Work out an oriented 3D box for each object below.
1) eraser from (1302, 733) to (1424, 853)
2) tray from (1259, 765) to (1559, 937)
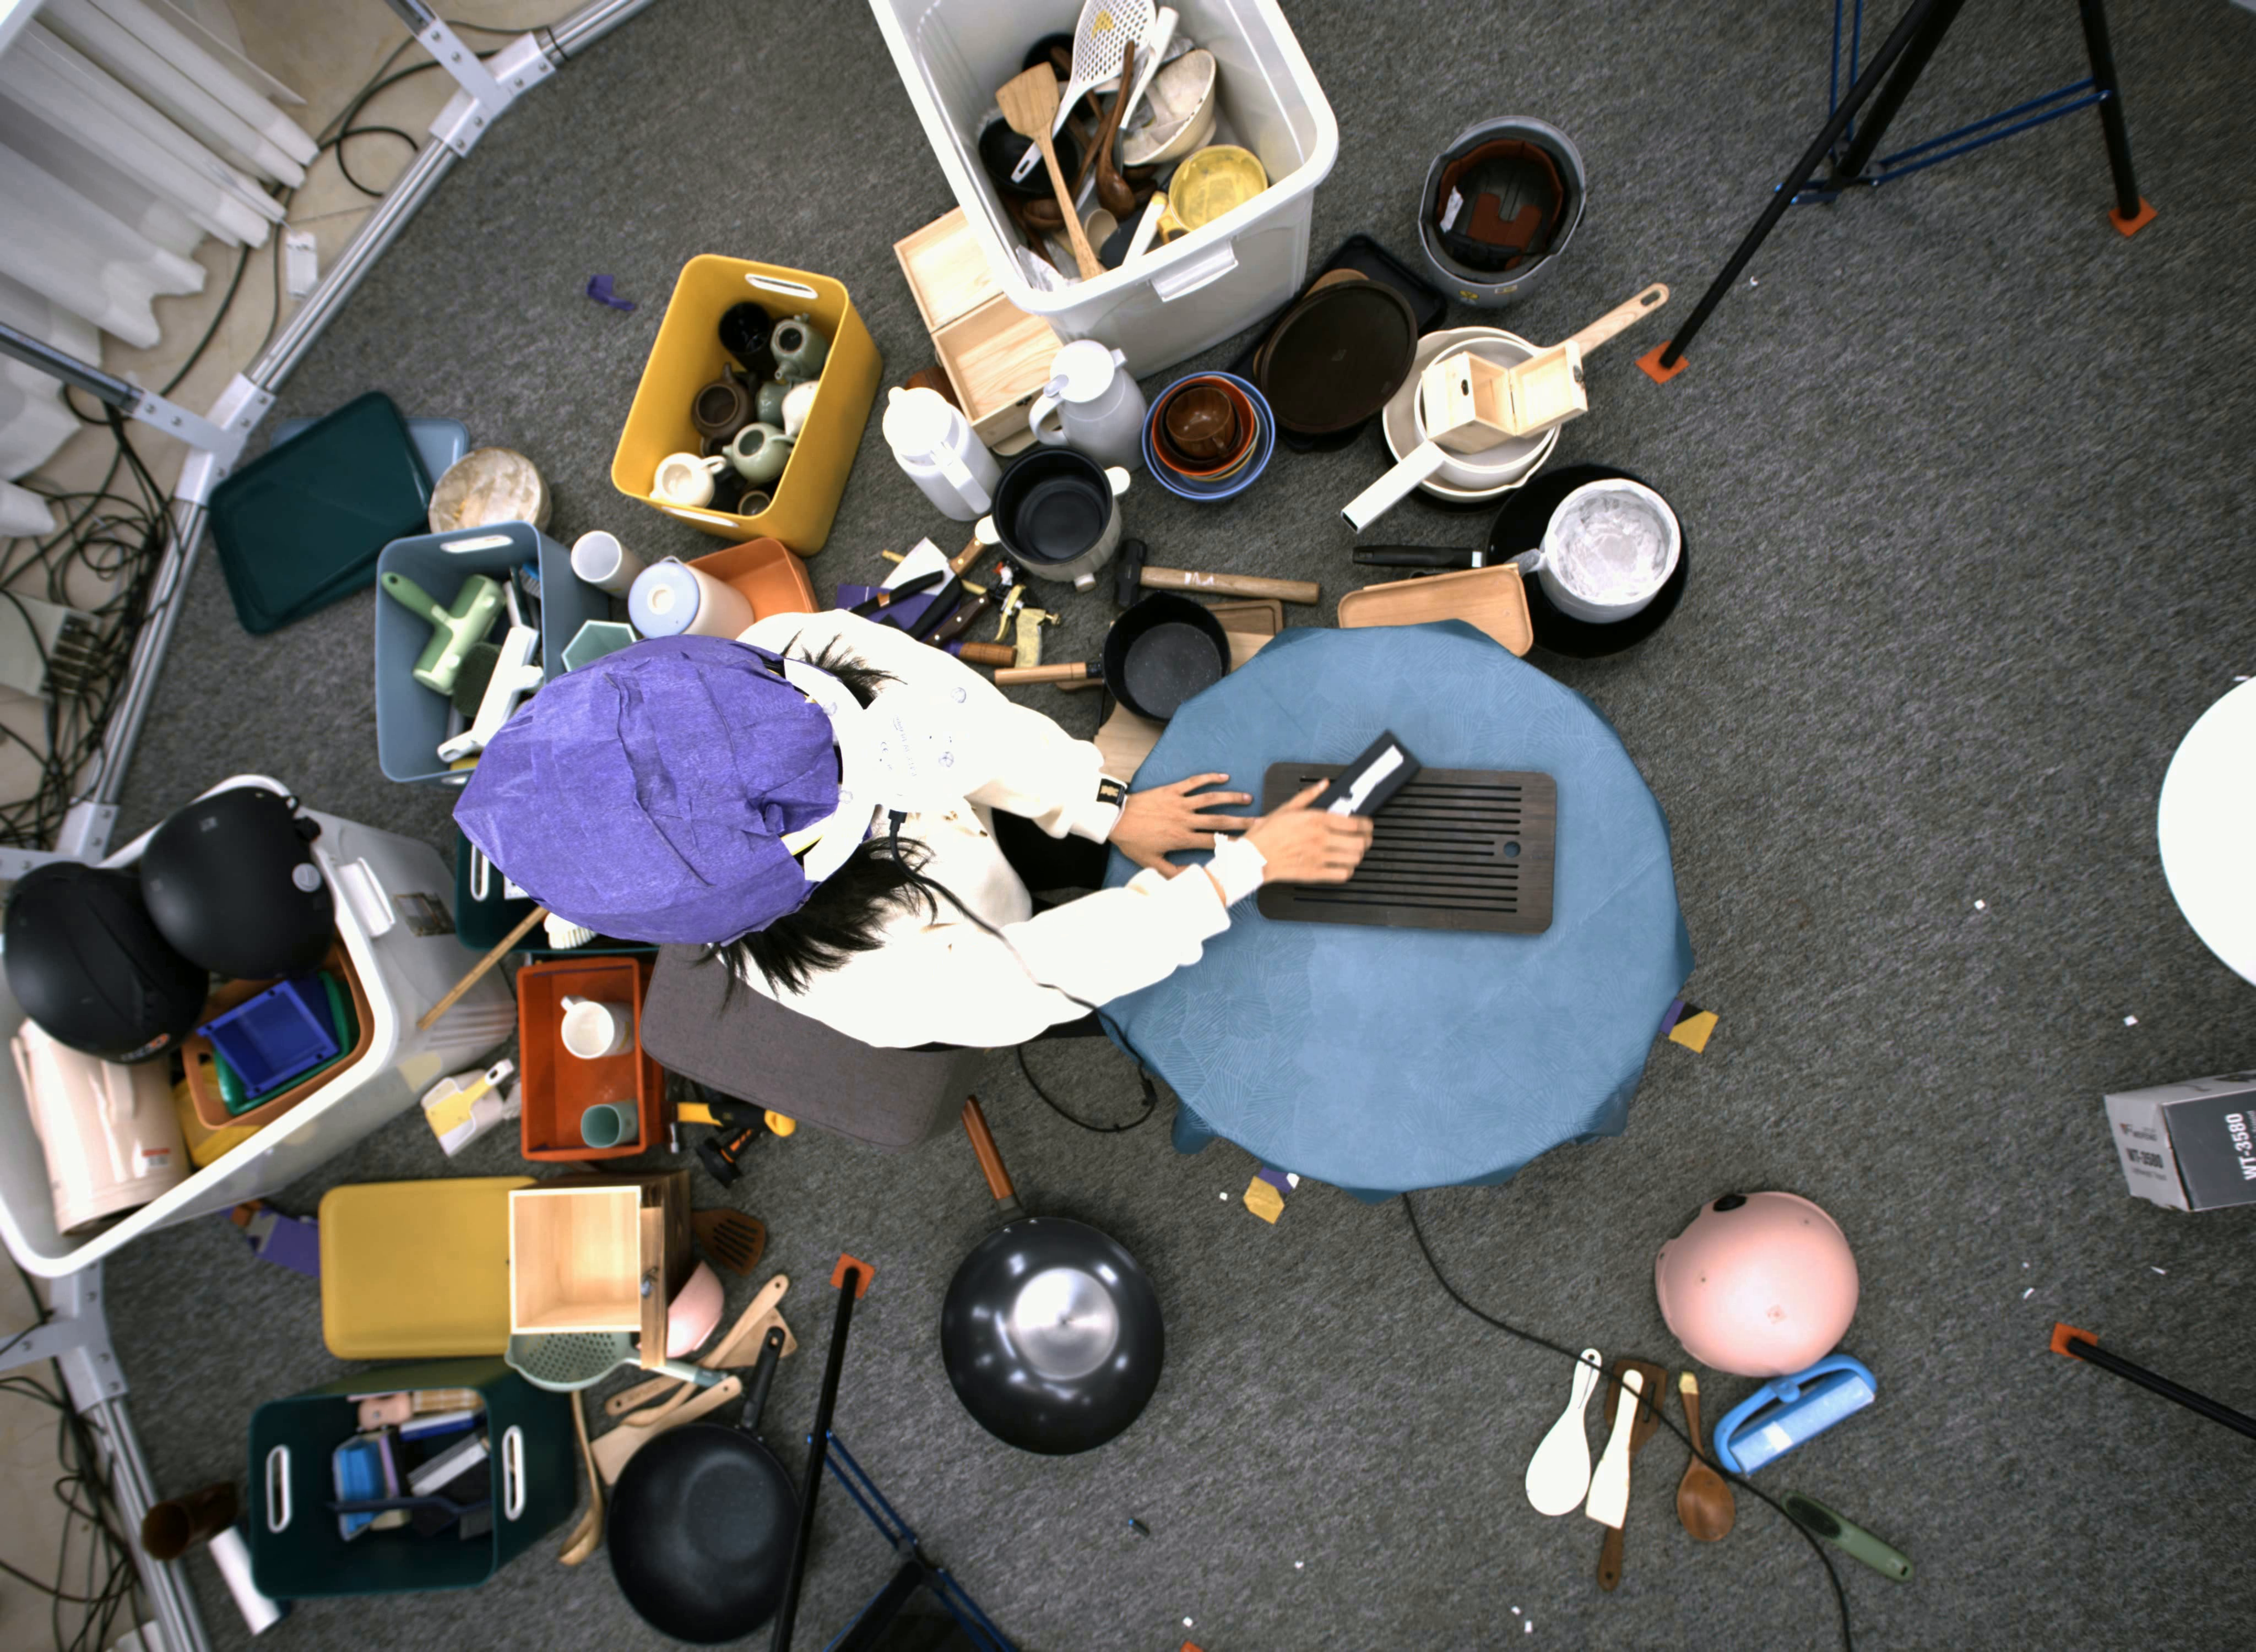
[{"bbox_3d":[0.240,-0.034,1.404,0.126,0.030,0.053,-45,75,11],"label":"eraser"},{"bbox_3d":[0.293,0.024,1.449,0.307,0.018,0.169,2,87,11],"label":"tray"}]
